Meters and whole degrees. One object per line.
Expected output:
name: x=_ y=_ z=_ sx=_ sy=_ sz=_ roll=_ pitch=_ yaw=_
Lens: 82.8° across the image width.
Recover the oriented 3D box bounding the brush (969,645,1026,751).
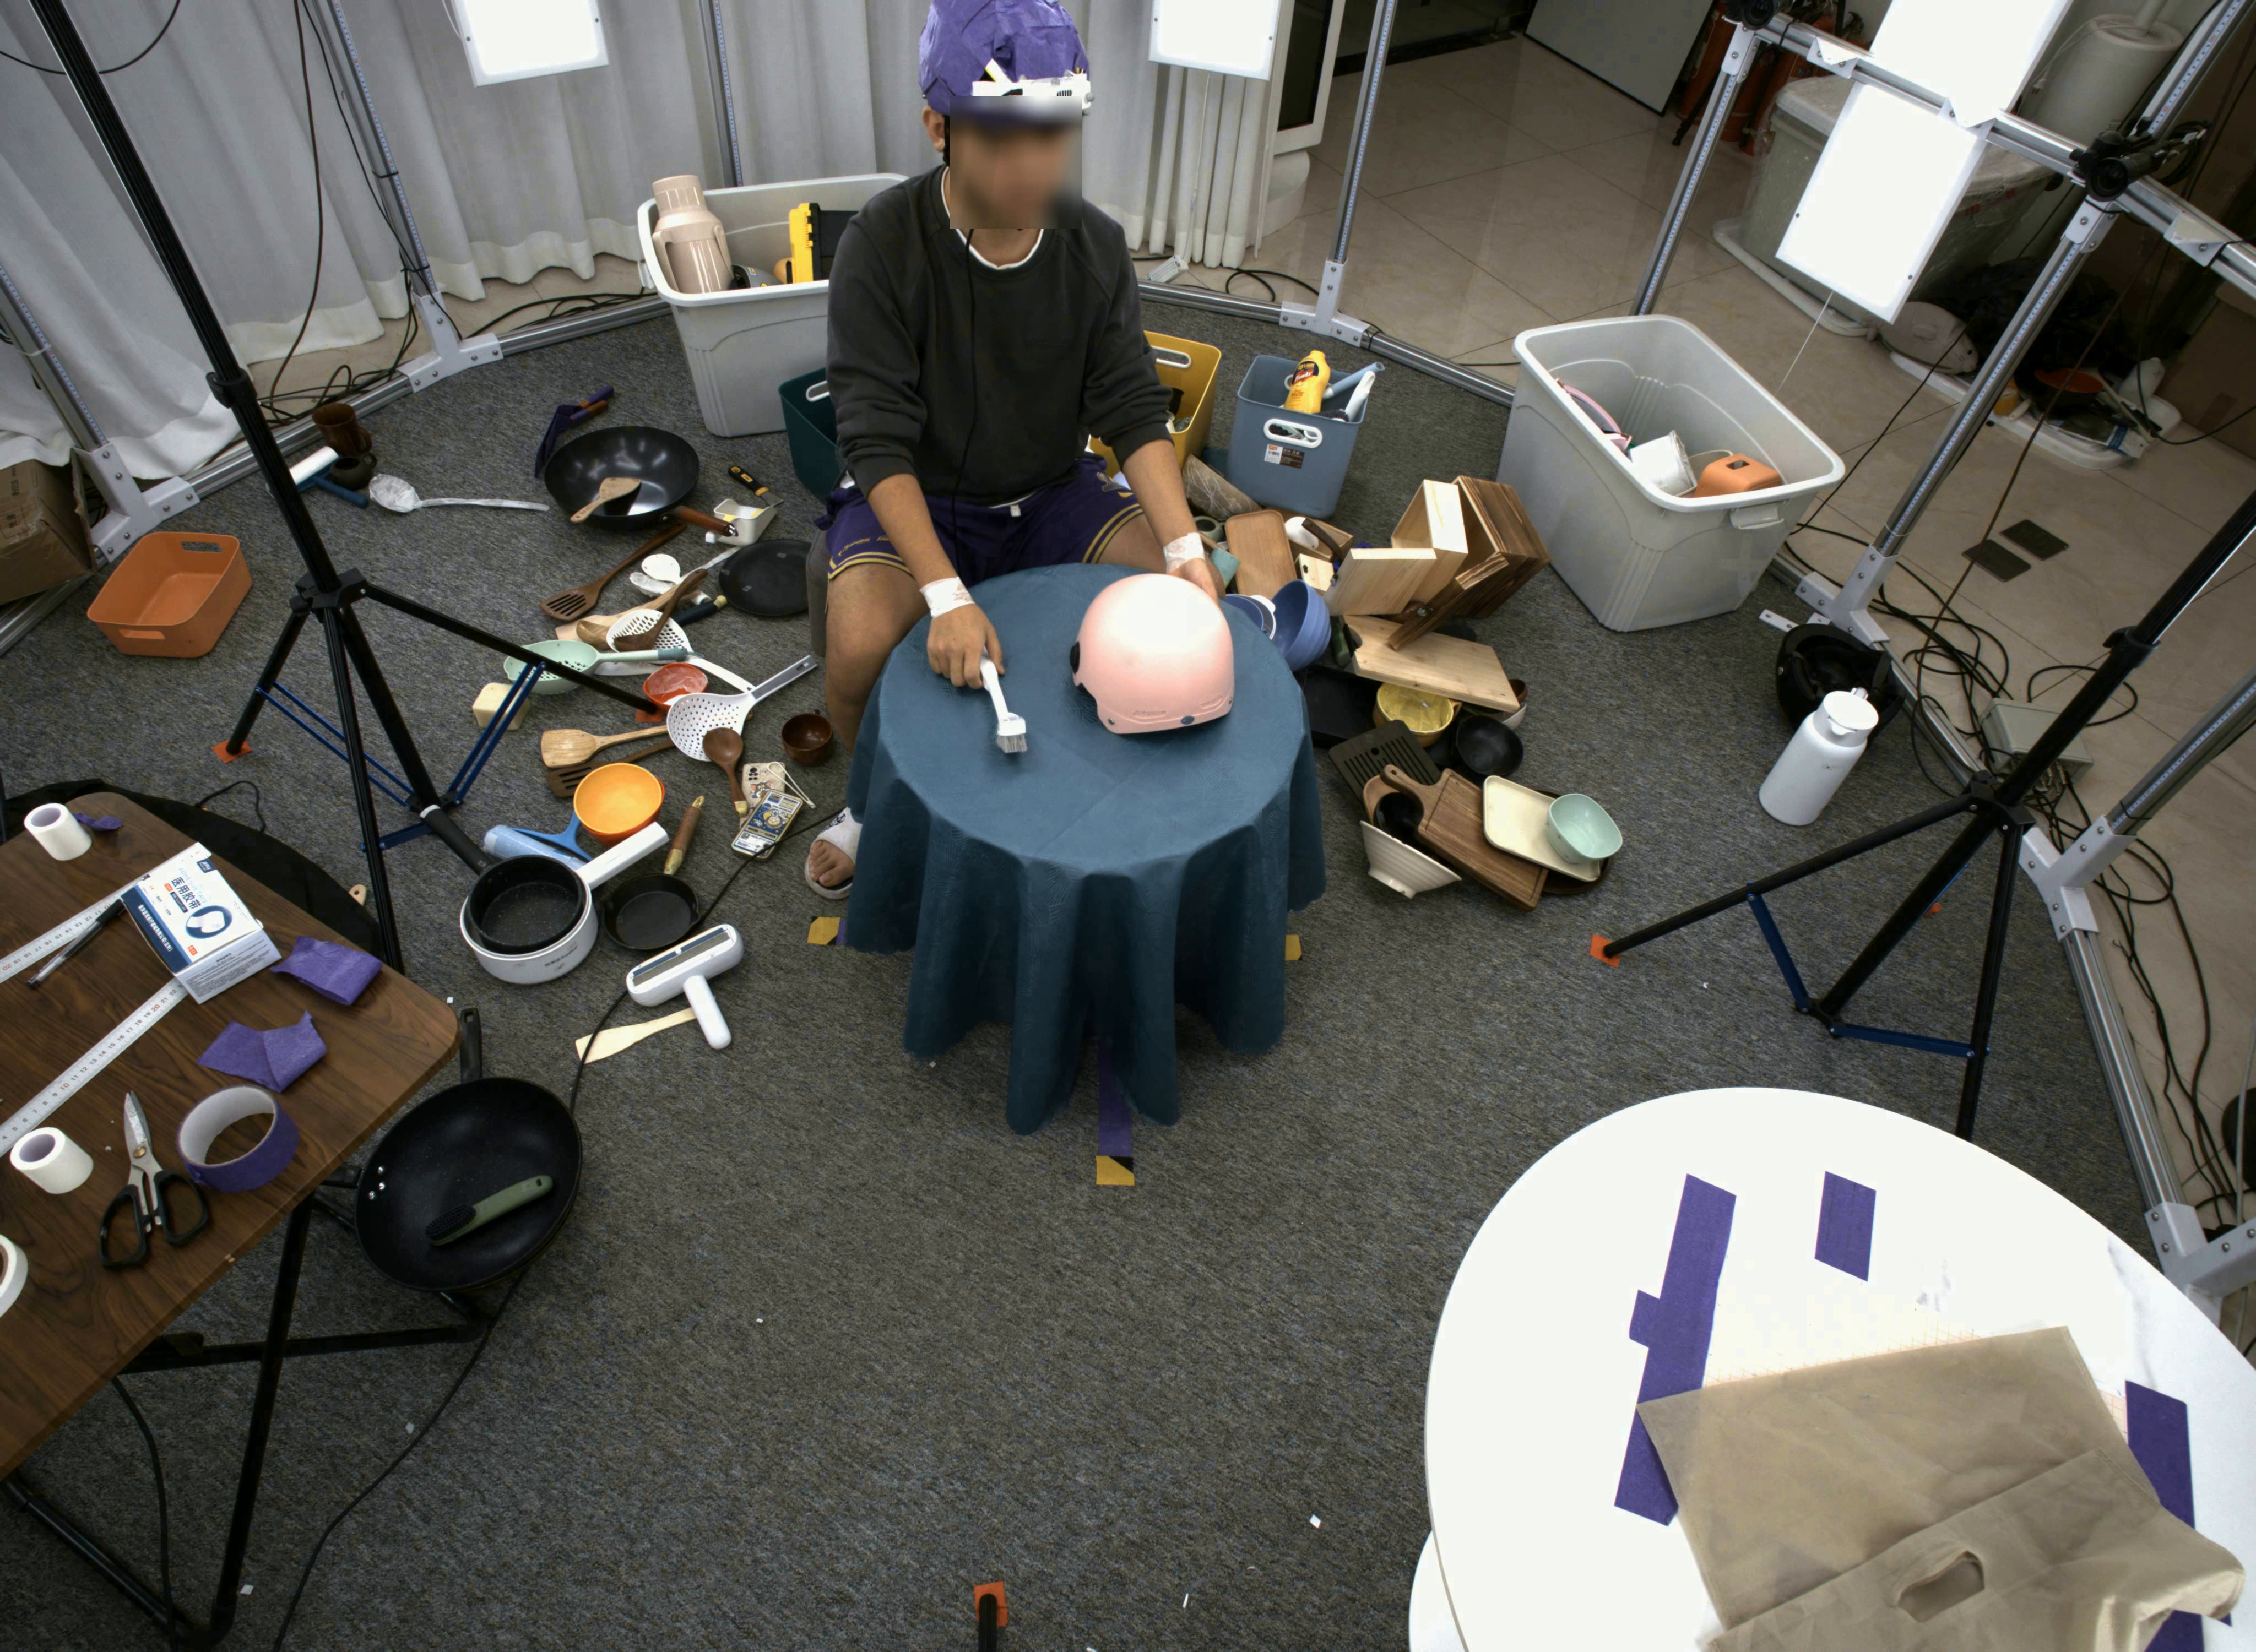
brush: x=-0.185 y=-0.178 z=1.793 sx=0.034 sy=0.049 sz=0.249 roll=-10 pitch=37 yaw=-15

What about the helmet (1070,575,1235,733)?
helmet: x=0.037 y=-0.265 z=1.797 sx=0.234 sy=0.155 sz=0.272 roll=-13 pitch=49 yaw=-13
